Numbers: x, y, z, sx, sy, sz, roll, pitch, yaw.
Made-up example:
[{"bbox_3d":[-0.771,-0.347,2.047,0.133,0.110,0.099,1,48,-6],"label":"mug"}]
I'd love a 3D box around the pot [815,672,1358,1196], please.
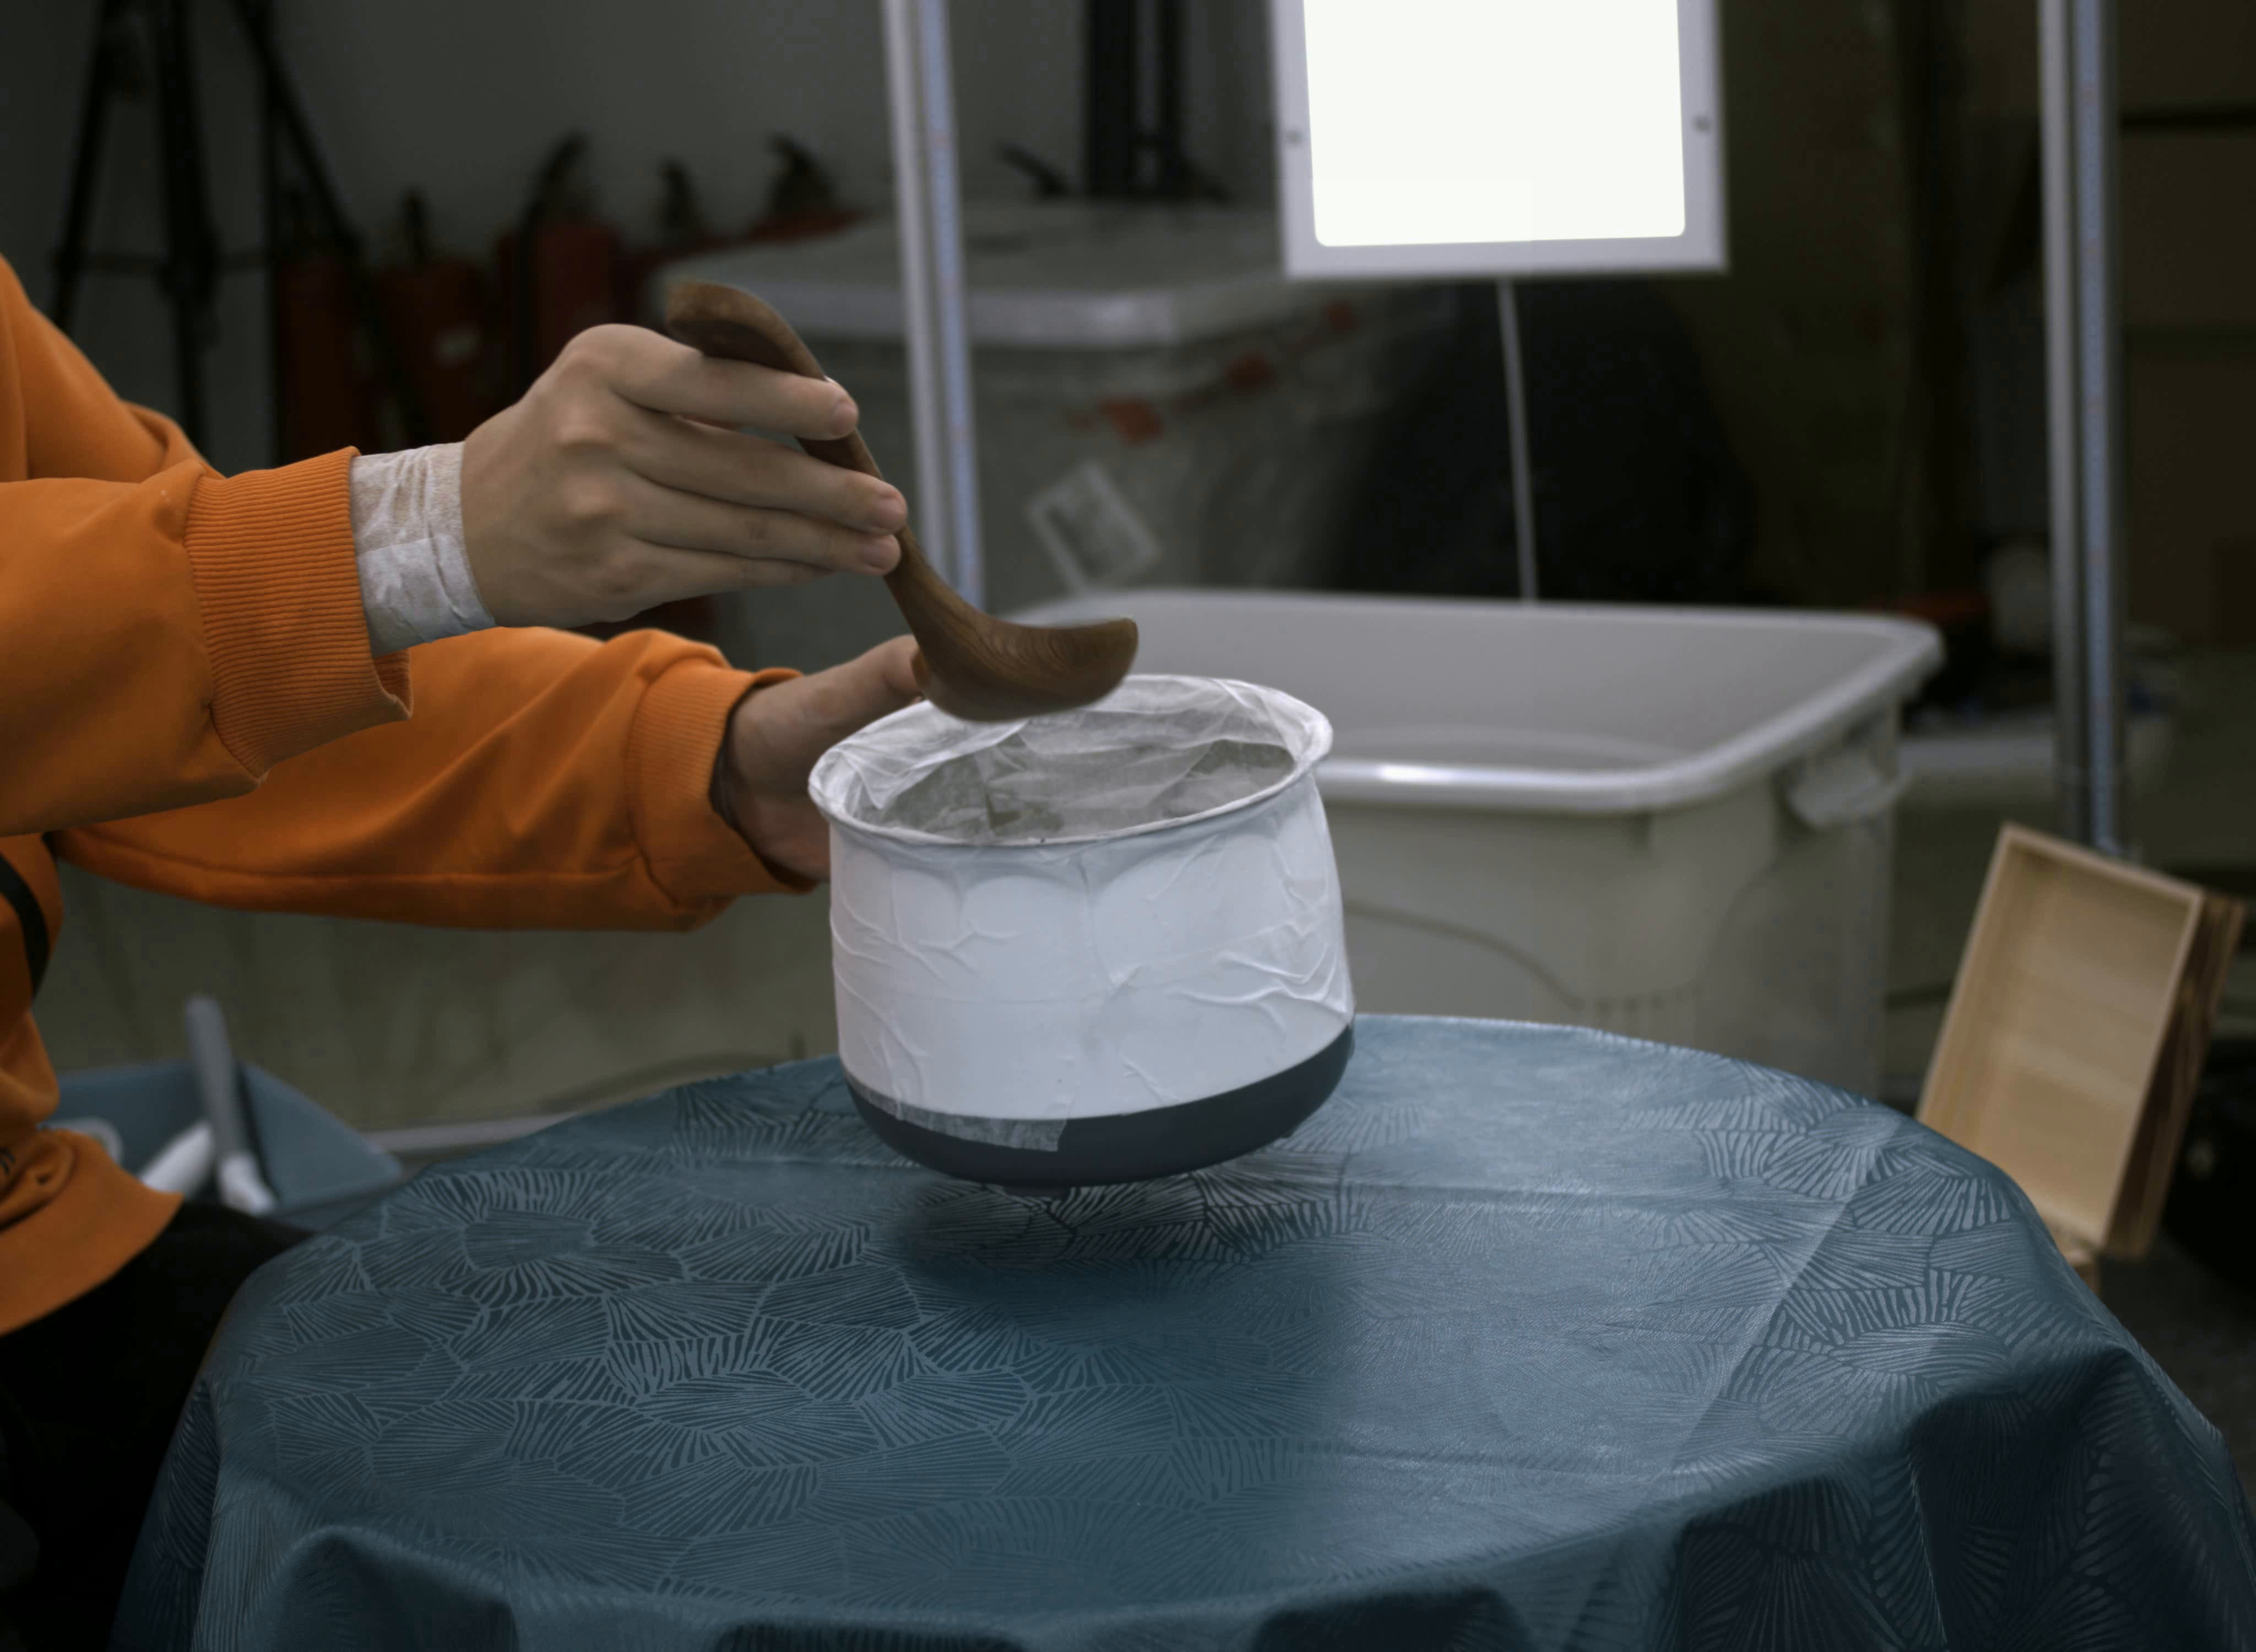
[{"bbox_3d":[-0.025,0.029,1.883,0.175,0.137,0.237,-13,20,-23],"label":"pot"}]

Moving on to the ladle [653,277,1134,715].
[{"bbox_3d":[-0.076,-0.110,1.714,0.078,0.257,0.065,-13,52,23],"label":"ladle"}]
